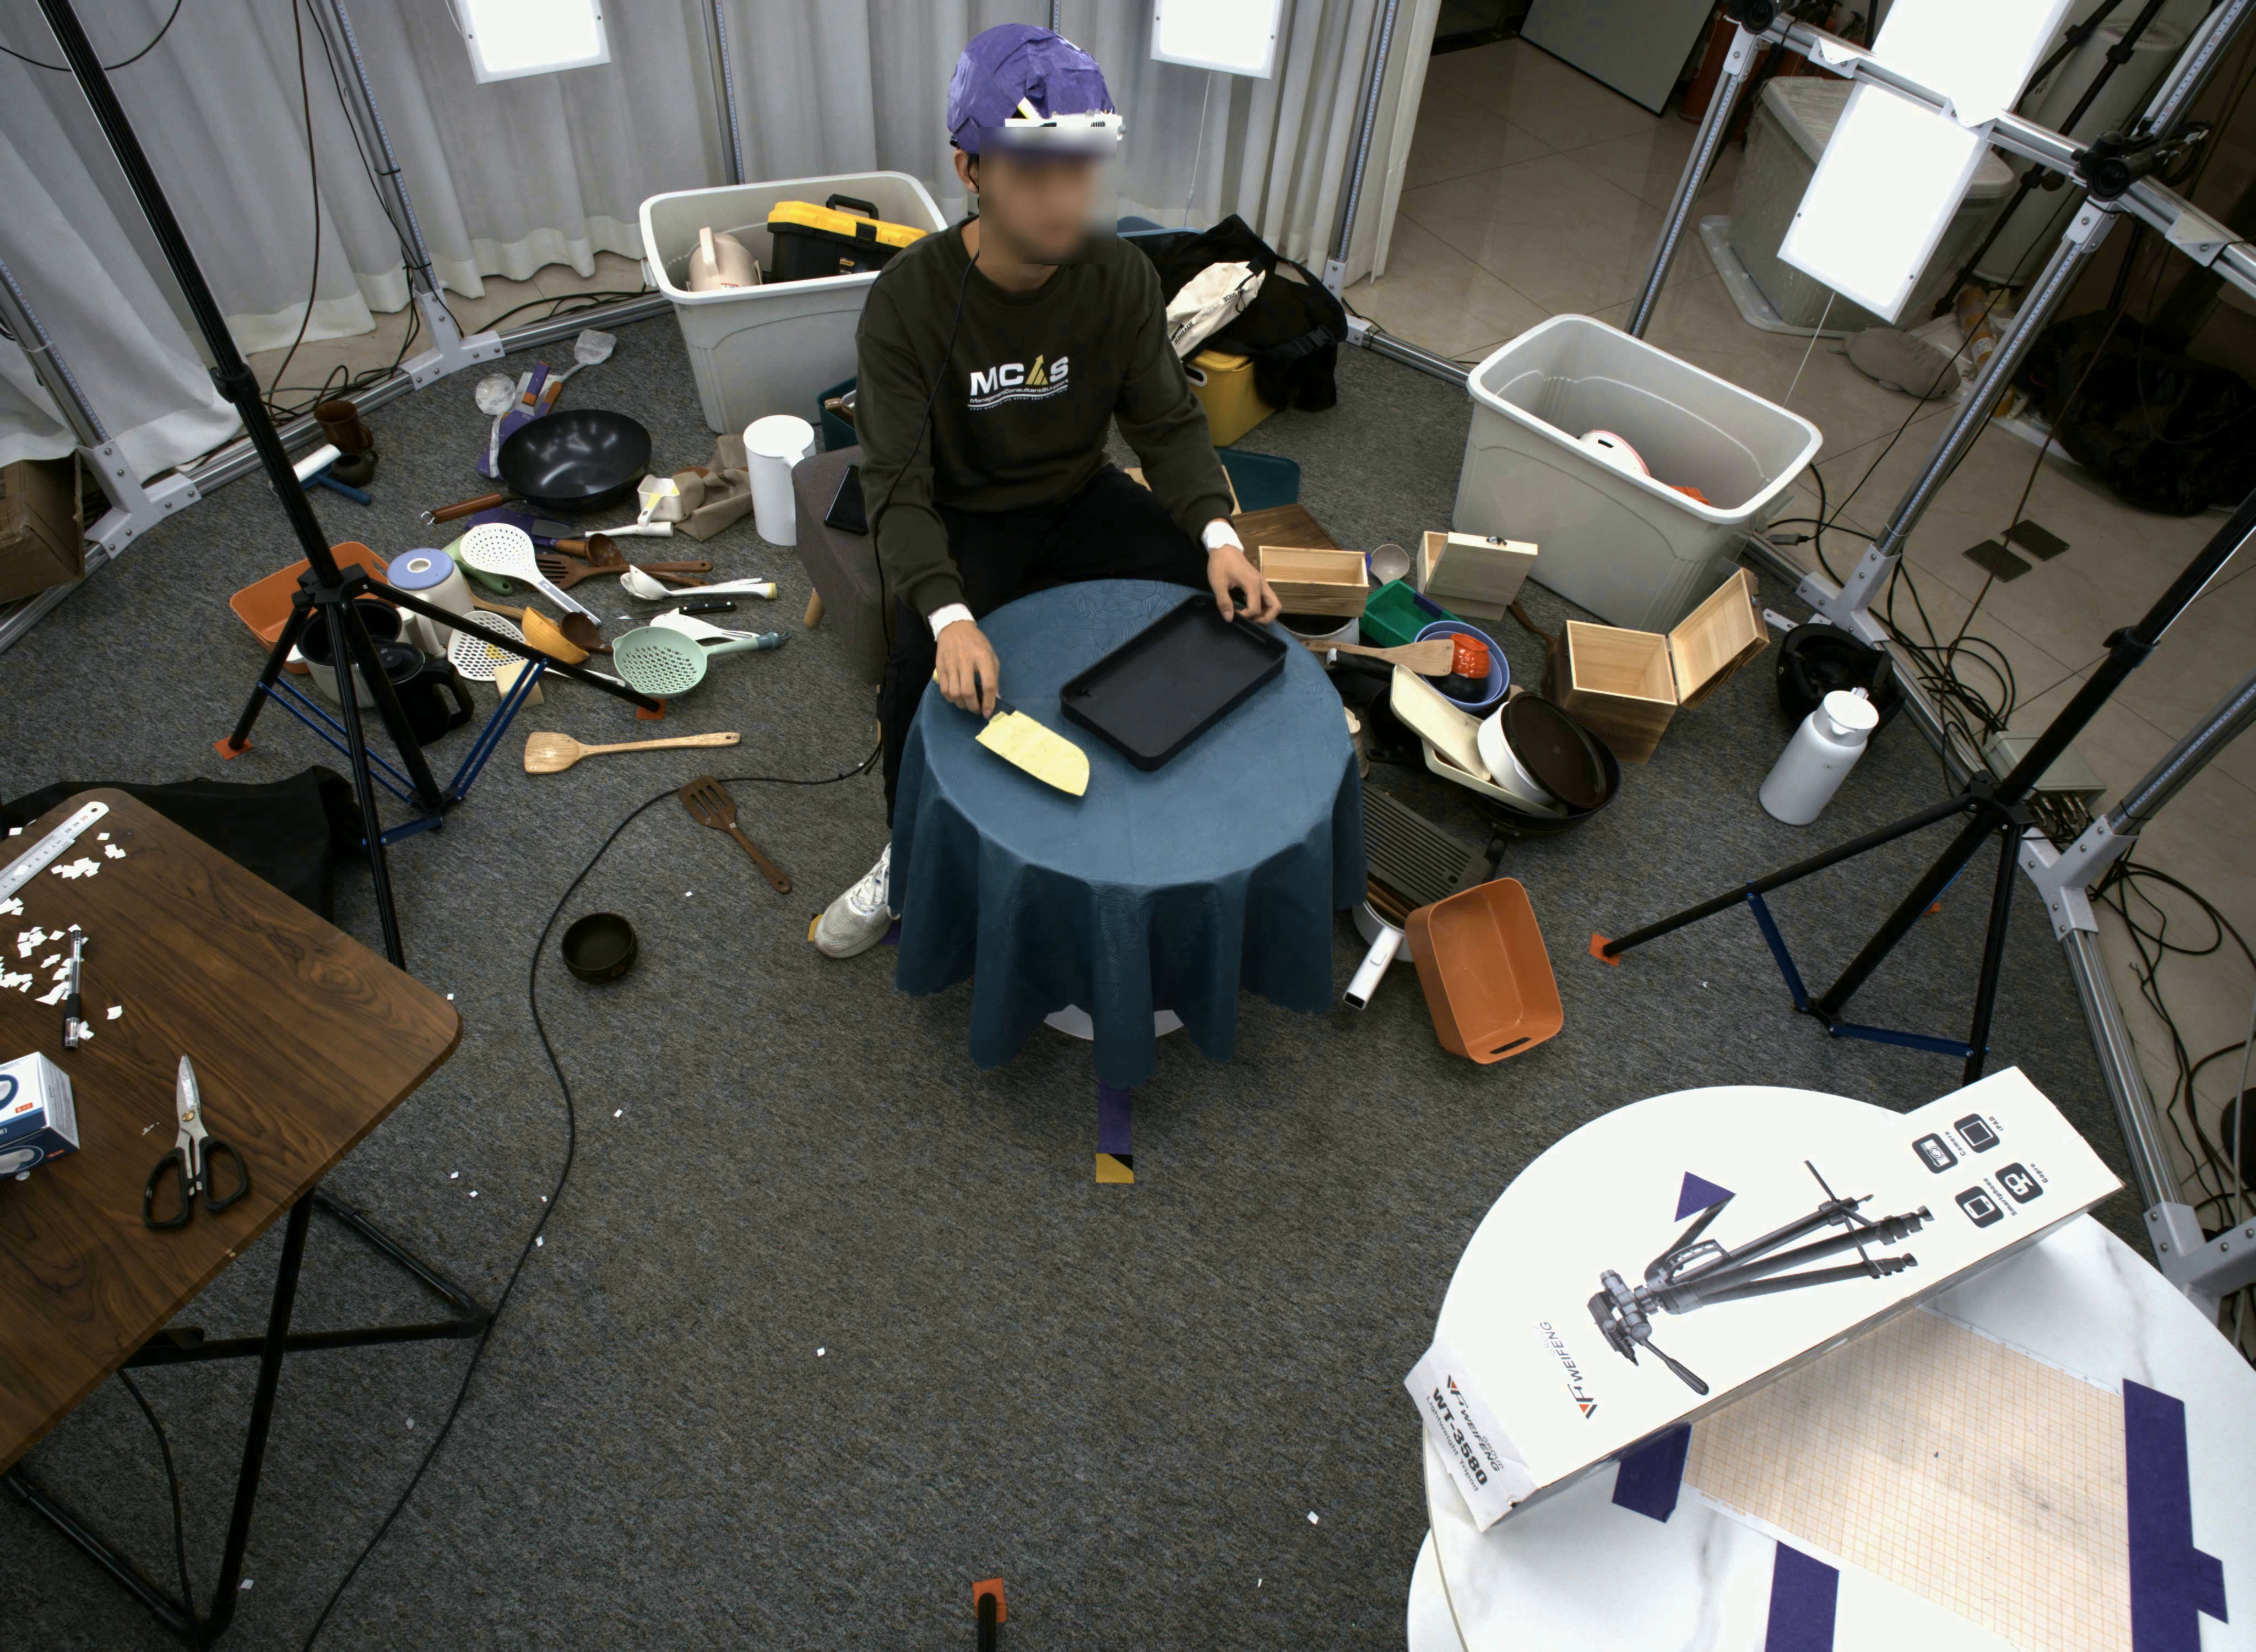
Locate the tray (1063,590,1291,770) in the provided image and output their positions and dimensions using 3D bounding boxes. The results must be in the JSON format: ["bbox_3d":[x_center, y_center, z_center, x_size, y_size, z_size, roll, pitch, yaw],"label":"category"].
[{"bbox_3d":[0.072,-0.215,1.833,0.187,0.036,0.321,34,56,24],"label":"tray"}]

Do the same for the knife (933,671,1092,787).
[{"bbox_3d":[-0.163,-0.131,1.734,0.293,0.026,0.082,33,59,24],"label":"knife"}]
